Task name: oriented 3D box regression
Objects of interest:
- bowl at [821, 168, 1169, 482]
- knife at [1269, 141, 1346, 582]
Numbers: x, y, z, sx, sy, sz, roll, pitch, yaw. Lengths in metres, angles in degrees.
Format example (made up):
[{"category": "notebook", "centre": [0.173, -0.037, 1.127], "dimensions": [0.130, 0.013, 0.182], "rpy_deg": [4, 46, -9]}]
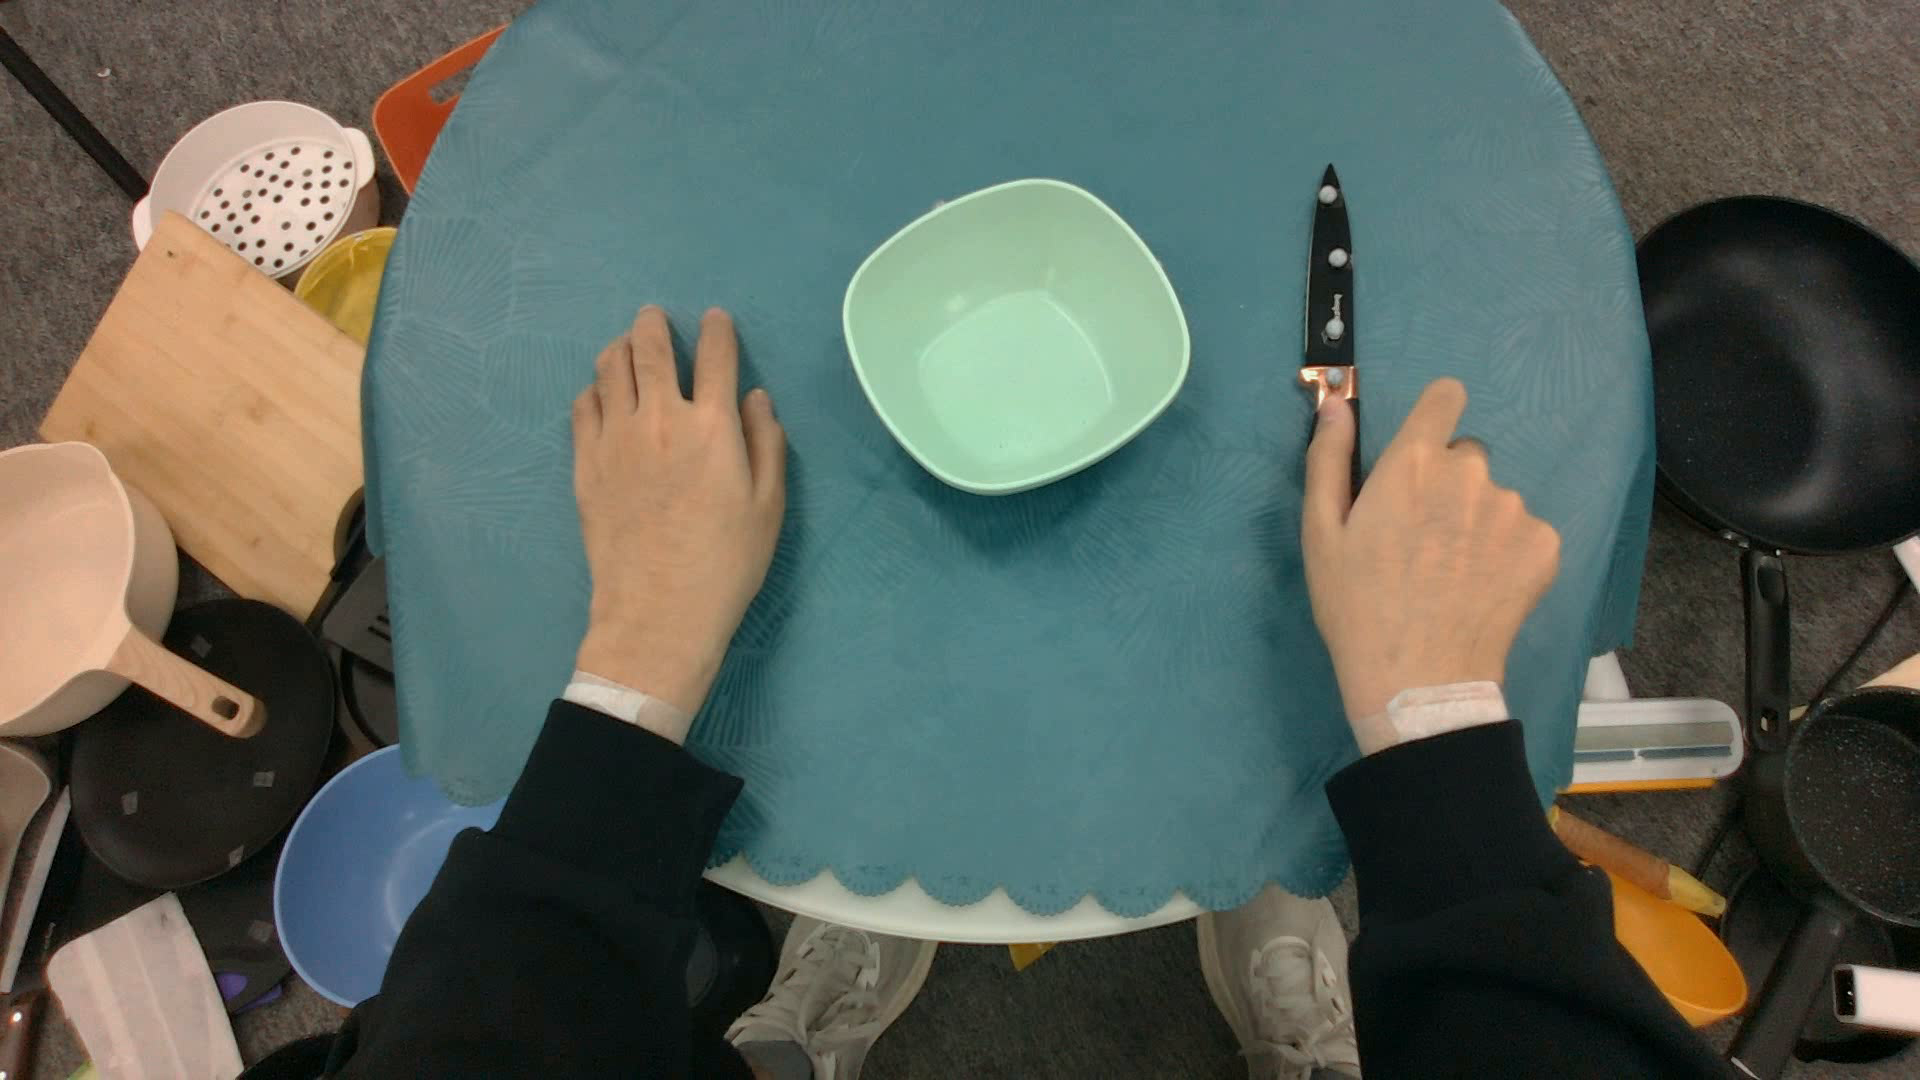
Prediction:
[{"category": "bowl", "centre": [0.015, -0.087, 0.614], "dimensions": [0.151, 0.058, 0.152], "rpy_deg": [0, 70, 1]}, {"category": "knife", "centre": [0.159, -0.088, 0.632], "dimensions": [0.026, 0.017, 0.226], "rpy_deg": [1, 70, 1]}]
